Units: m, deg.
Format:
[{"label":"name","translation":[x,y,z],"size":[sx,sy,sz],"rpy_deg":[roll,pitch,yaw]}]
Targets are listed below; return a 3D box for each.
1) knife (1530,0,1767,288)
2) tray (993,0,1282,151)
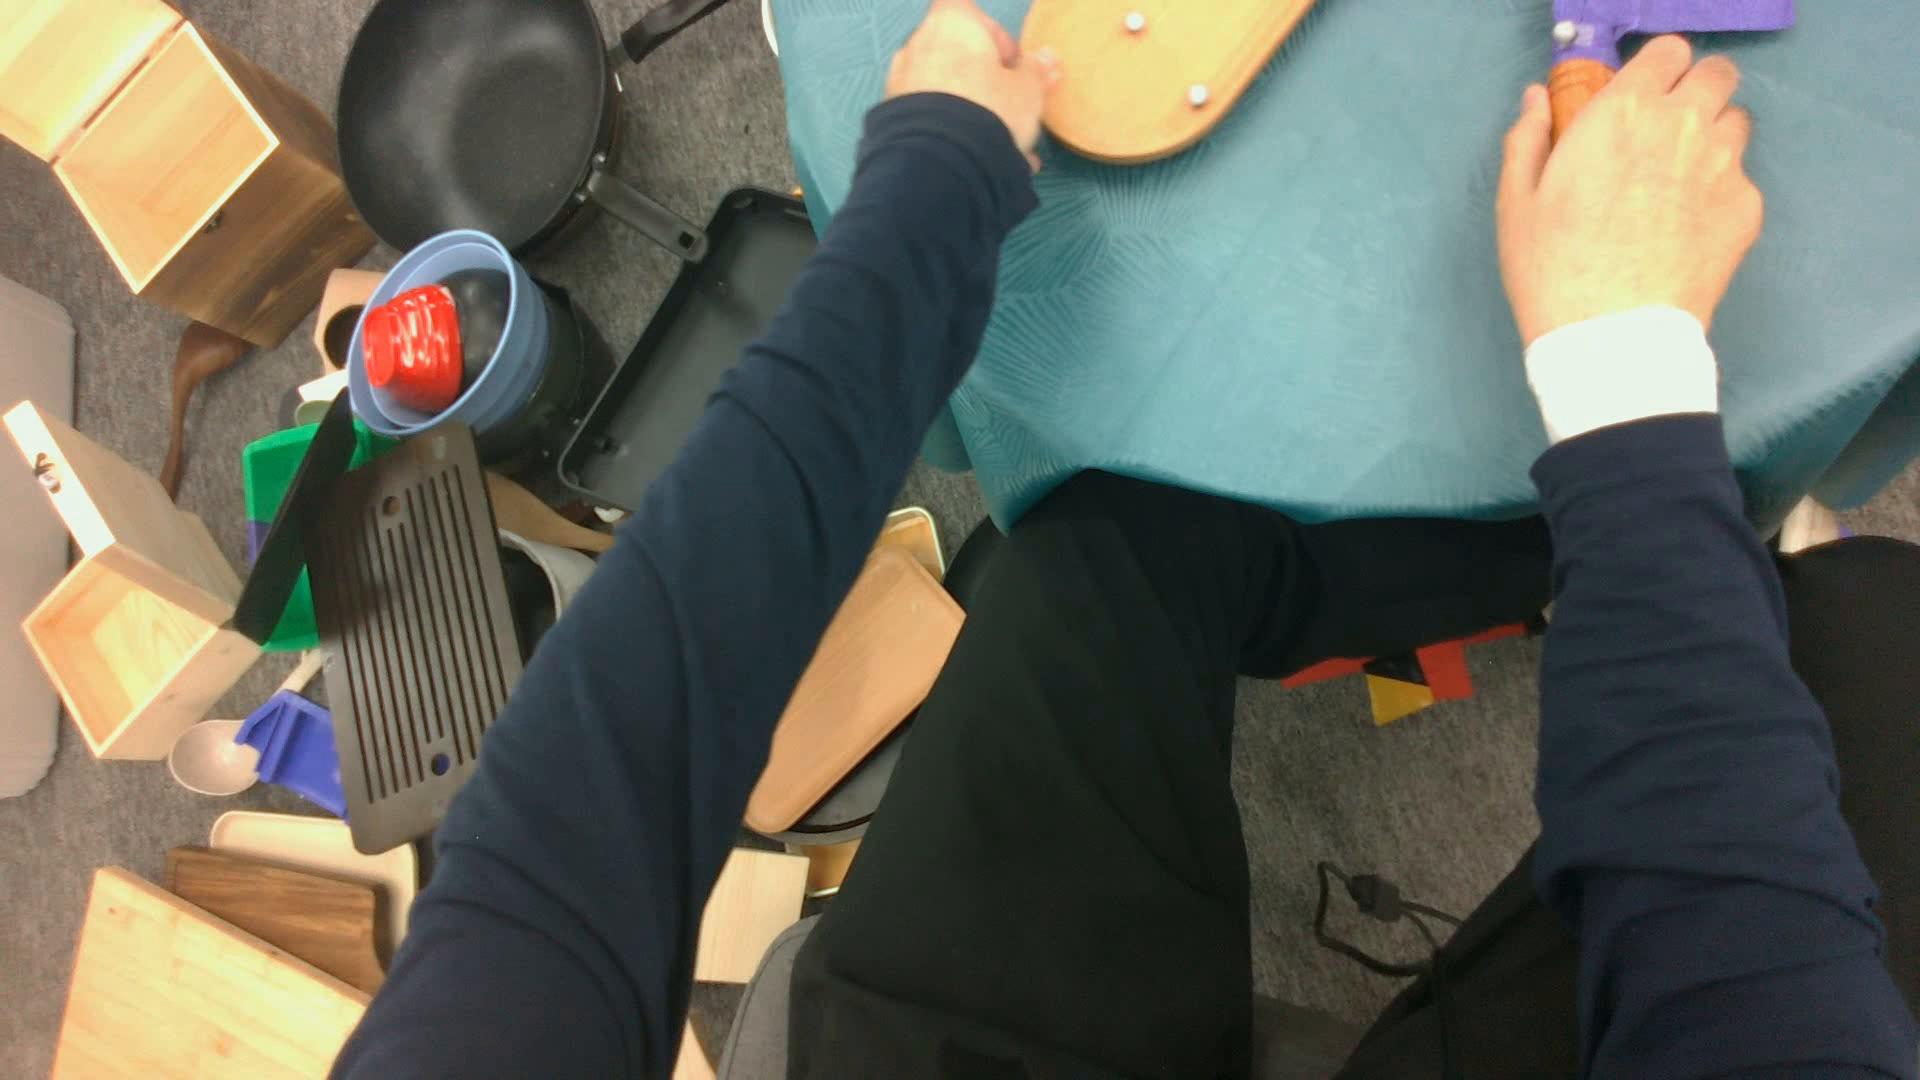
[{"label":"knife","translation":[0.272,-0.255,0.548],"size":[0.104,0.032,0.315],"rpy_deg":[0,81,5]},{"label":"tray","translation":[0.106,-0.270,0.606],"size":[0.102,0.020,0.231],"rpy_deg":[39,89,13]}]
